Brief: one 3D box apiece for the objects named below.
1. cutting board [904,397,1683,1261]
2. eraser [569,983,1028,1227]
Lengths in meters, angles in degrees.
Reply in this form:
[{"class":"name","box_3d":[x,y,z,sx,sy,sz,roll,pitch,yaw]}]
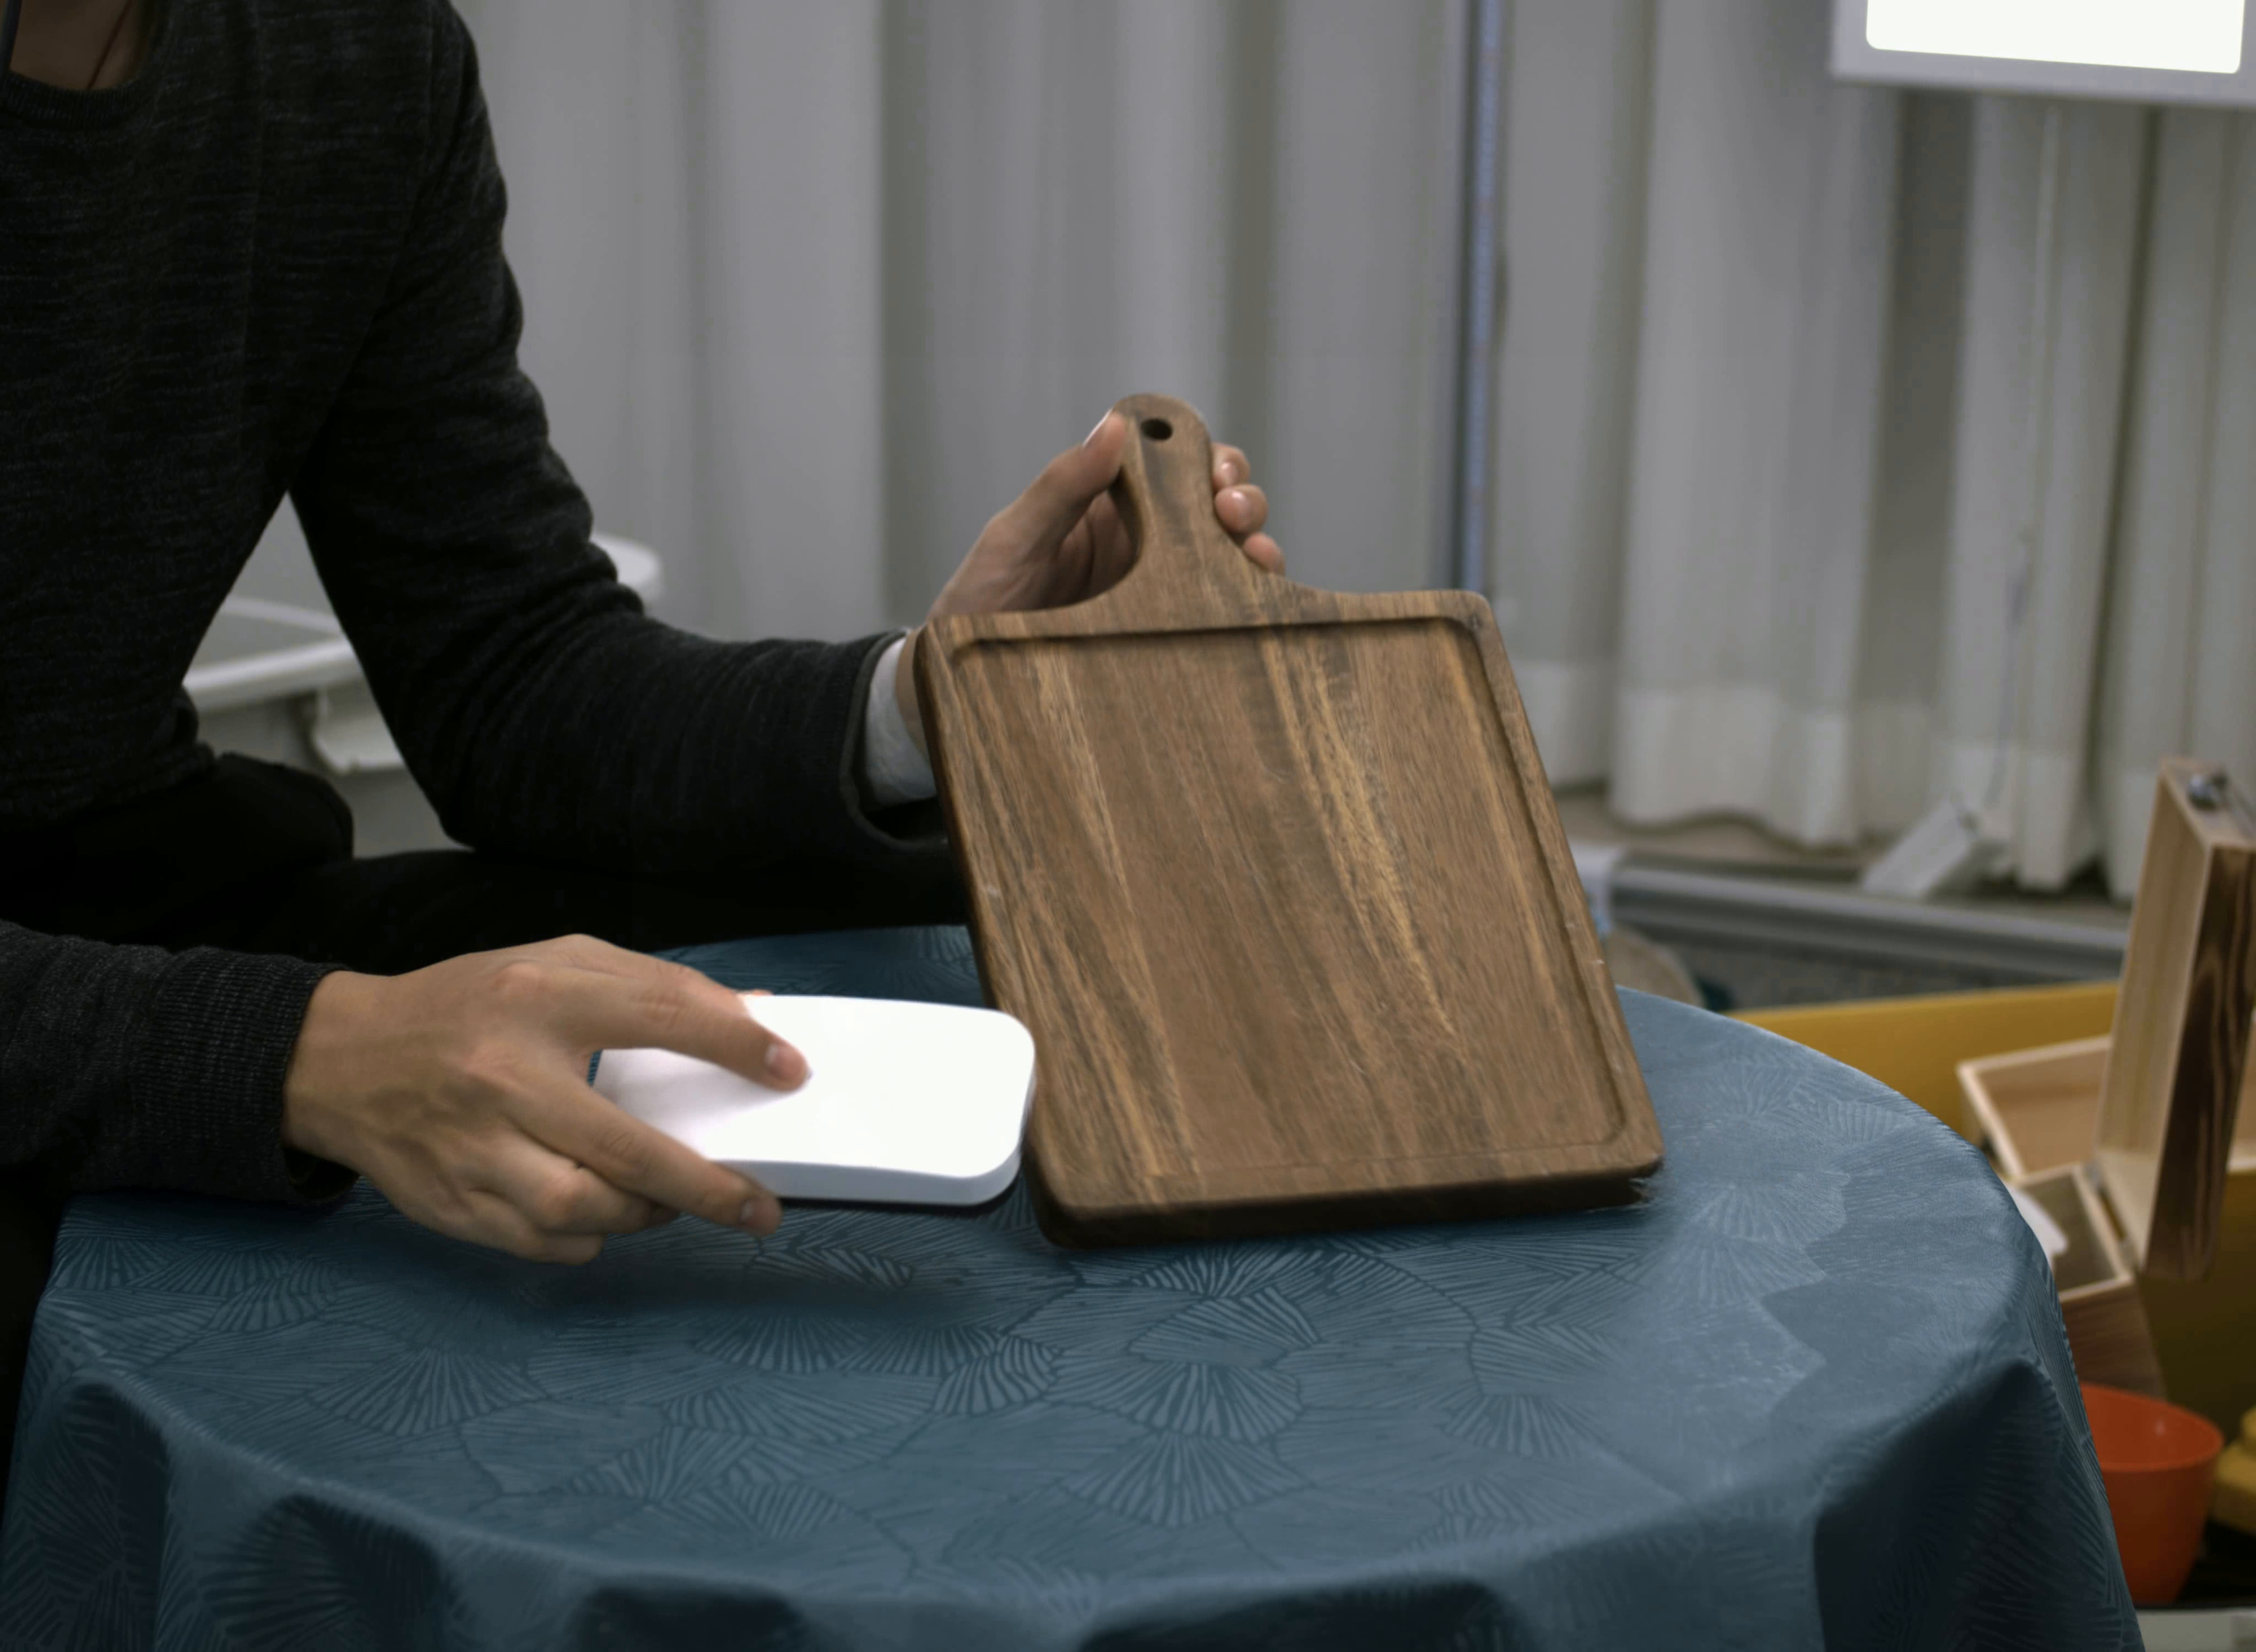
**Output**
[{"class":"cutting board","box_3d":[0.038,-0.011,1.689,0.201,0.023,0.348,-4,49,-14]},{"class":"eraser","box_3d":[-0.095,0.082,1.529,0.130,0.035,0.063,3,51,12]}]
